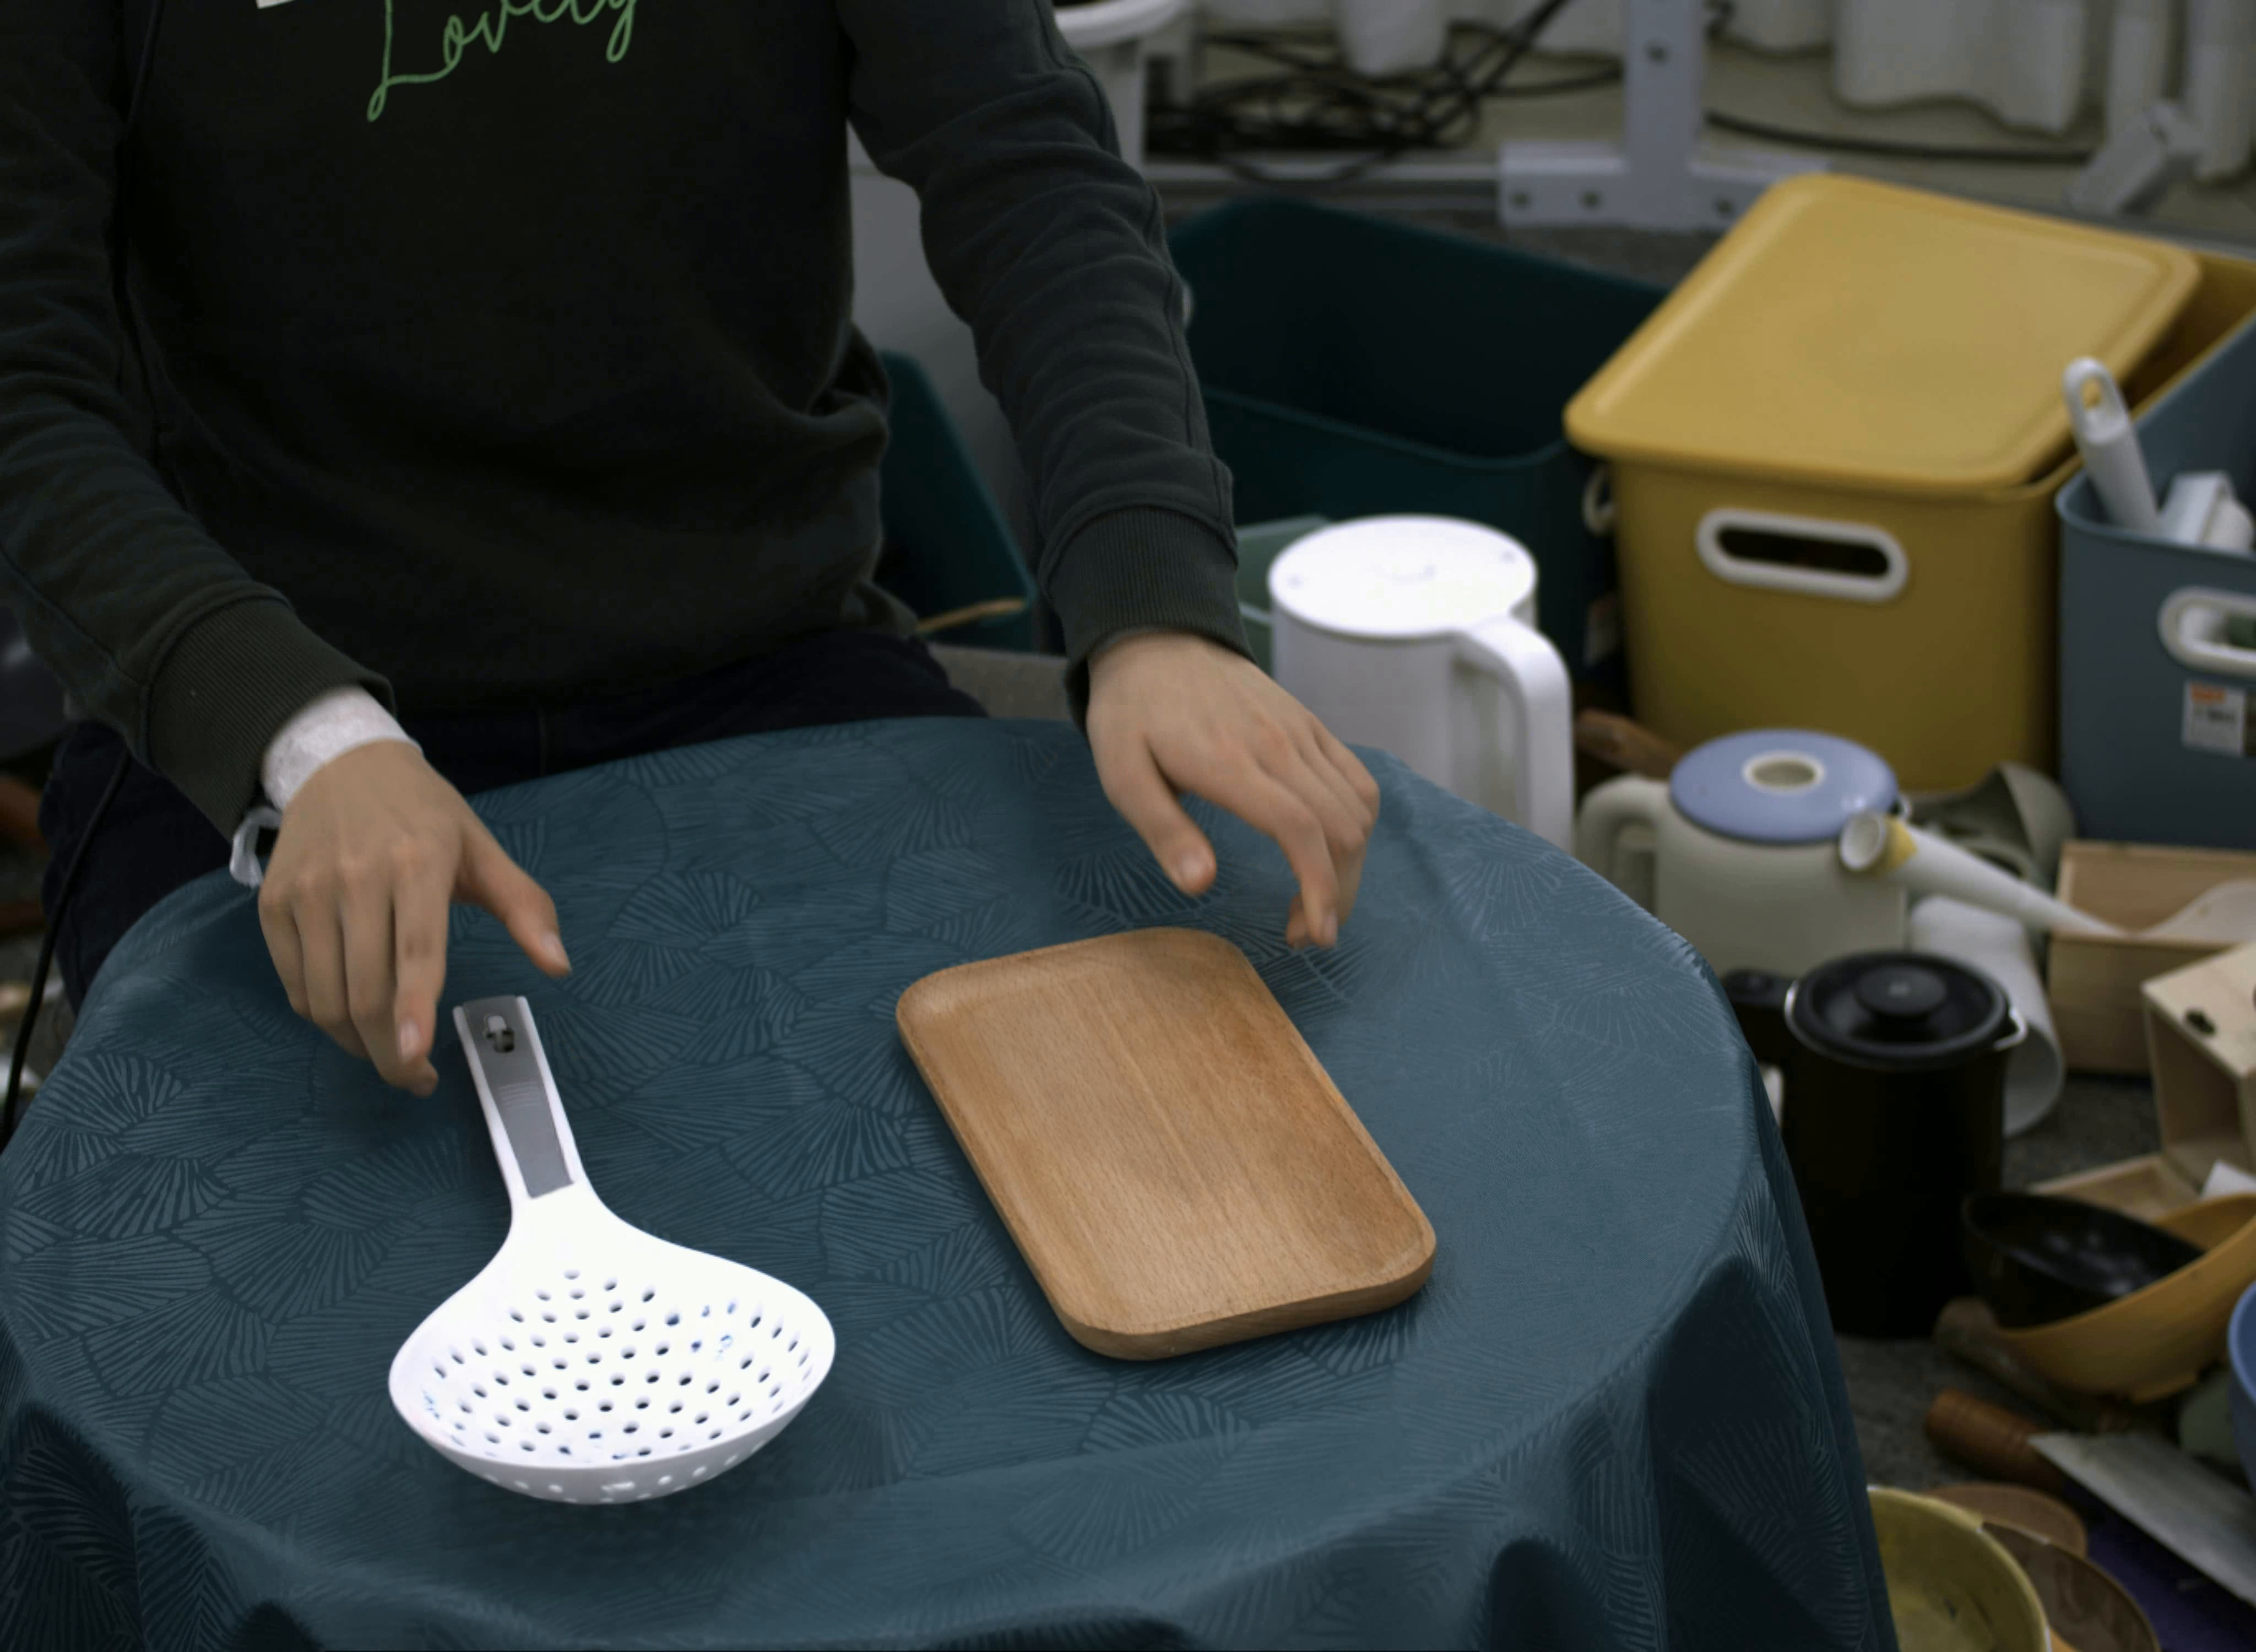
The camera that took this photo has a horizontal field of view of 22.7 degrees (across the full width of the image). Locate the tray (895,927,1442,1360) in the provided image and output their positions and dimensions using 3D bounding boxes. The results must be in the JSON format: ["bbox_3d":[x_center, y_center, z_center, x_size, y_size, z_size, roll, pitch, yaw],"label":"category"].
[{"bbox_3d":[0.010,0.103,1.878,0.130,0.022,0.253,-9,27,-15],"label":"tray"}]

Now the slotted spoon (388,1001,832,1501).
[{"bbox_3d":[-0.183,0.131,1.813,0.136,0.045,0.353,-6,26,-12],"label":"slotted spoon"}]
